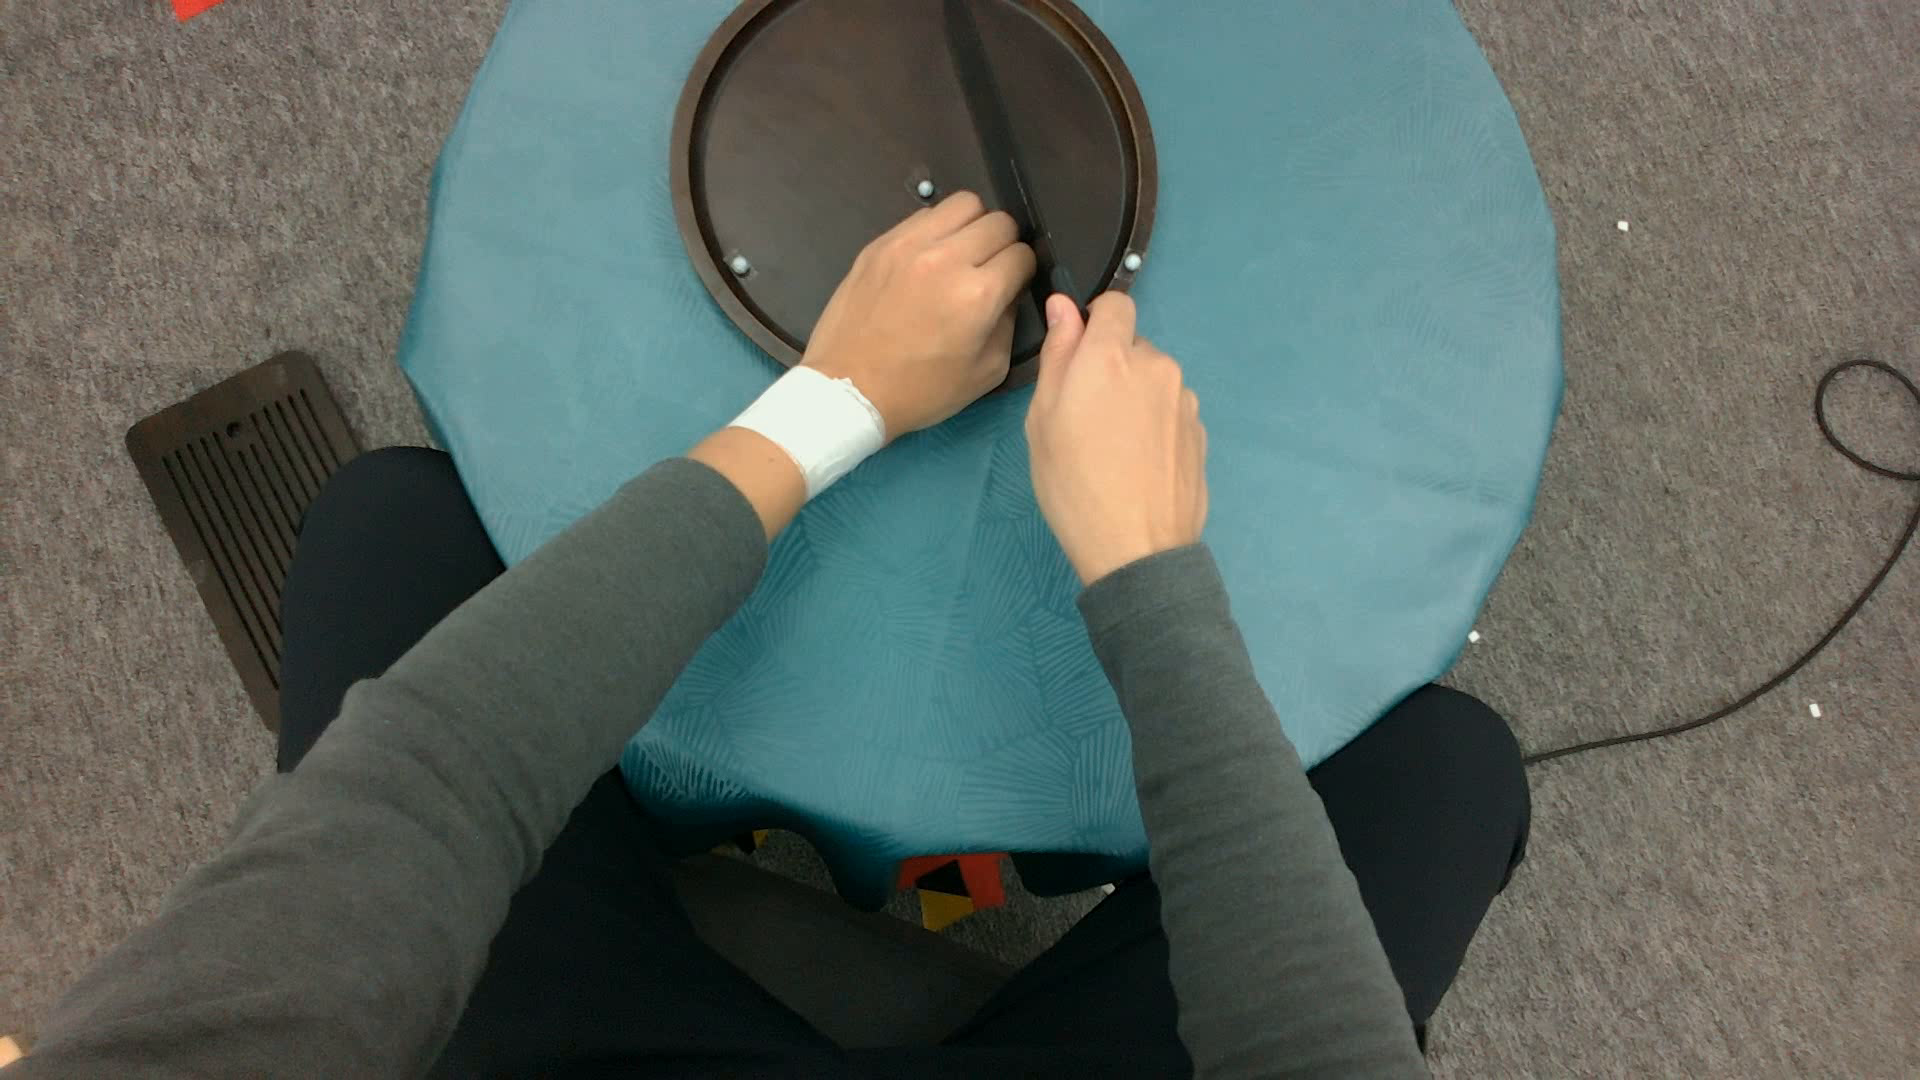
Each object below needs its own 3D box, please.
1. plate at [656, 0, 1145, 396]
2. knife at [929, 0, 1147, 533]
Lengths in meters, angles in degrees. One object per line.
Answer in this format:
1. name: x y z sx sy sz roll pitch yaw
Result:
1. plate: -0.029 -0.196 0.719 0.255 0.029 0.255 1 80 -7
2. knife: 0.031 -0.146 0.663 0.021 0.080 0.303 -17 75 -7
